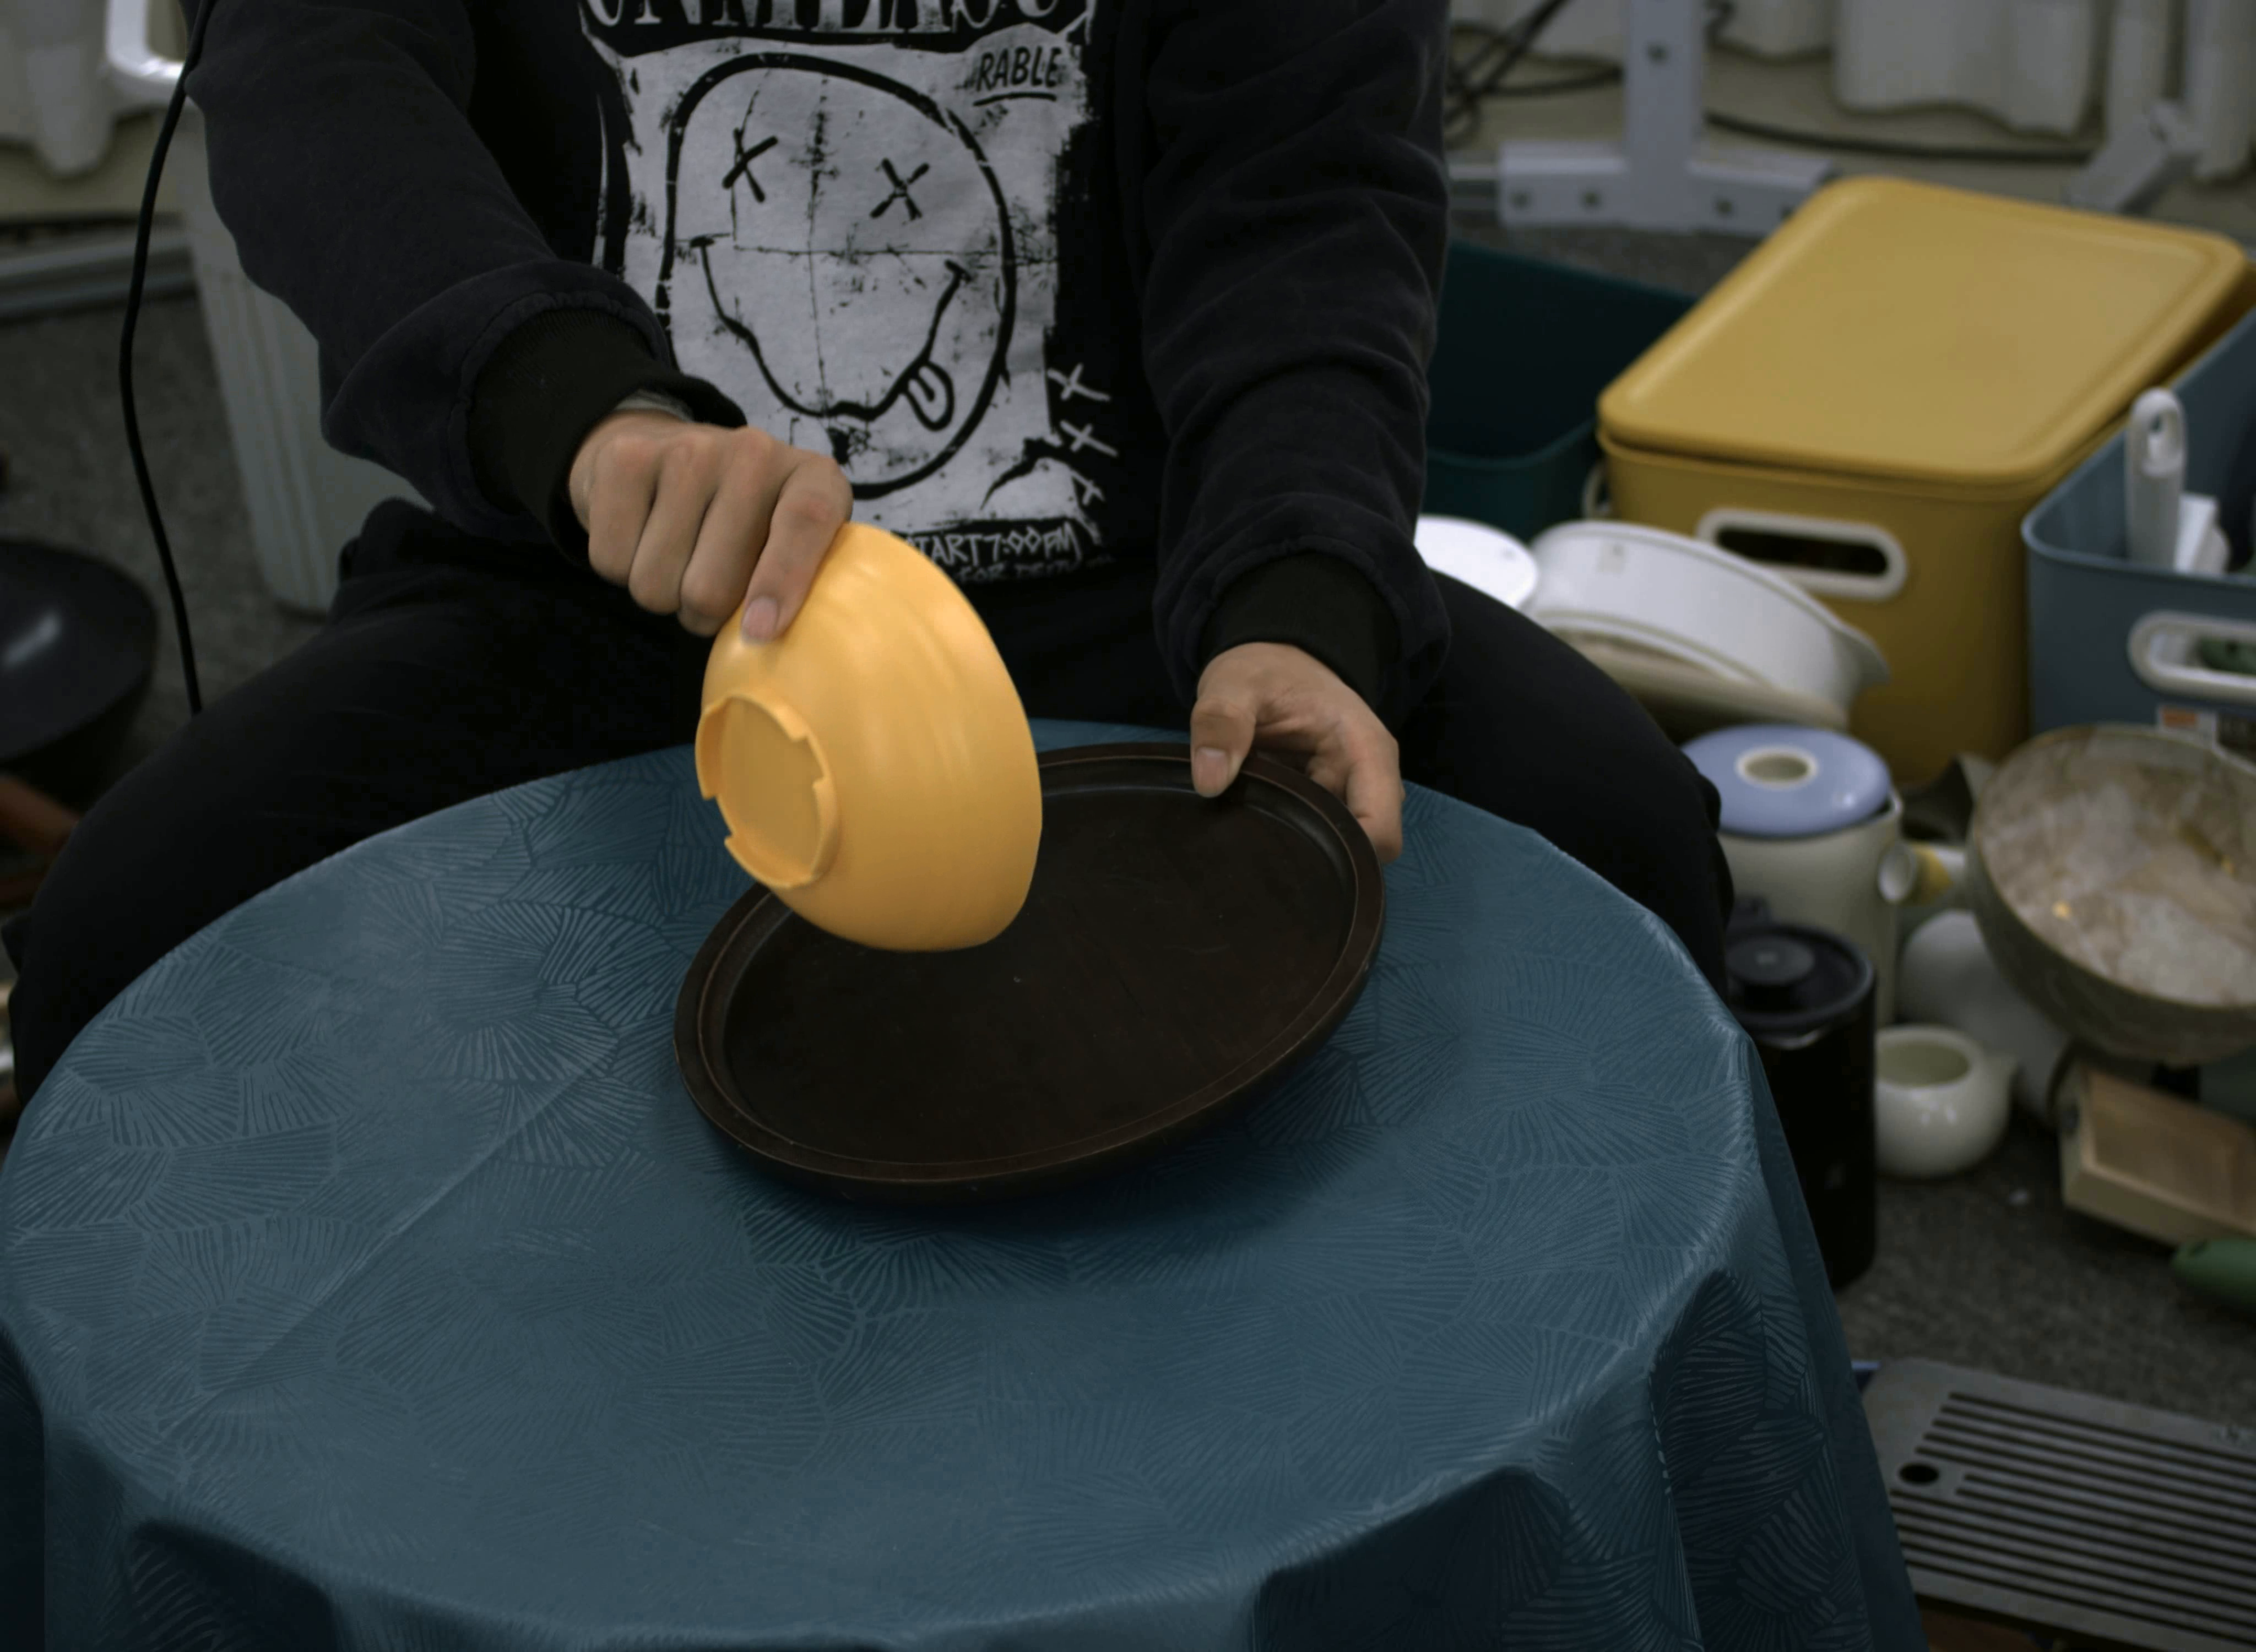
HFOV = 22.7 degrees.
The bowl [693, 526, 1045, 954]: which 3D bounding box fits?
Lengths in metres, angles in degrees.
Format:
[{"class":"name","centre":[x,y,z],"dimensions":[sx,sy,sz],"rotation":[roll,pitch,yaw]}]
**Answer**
[{"class":"bowl","centre":[-0.096,-0.019,1.799],"dimensions":[0.061,0.144,0.145],"rotation":[-24,33,-39]}]

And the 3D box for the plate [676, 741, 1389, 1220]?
[{"class":"plate","centre":[-0.032,0.052,1.930],"dimensions":[0.253,0.029,0.259],"rotation":[-12,32,8]}]
